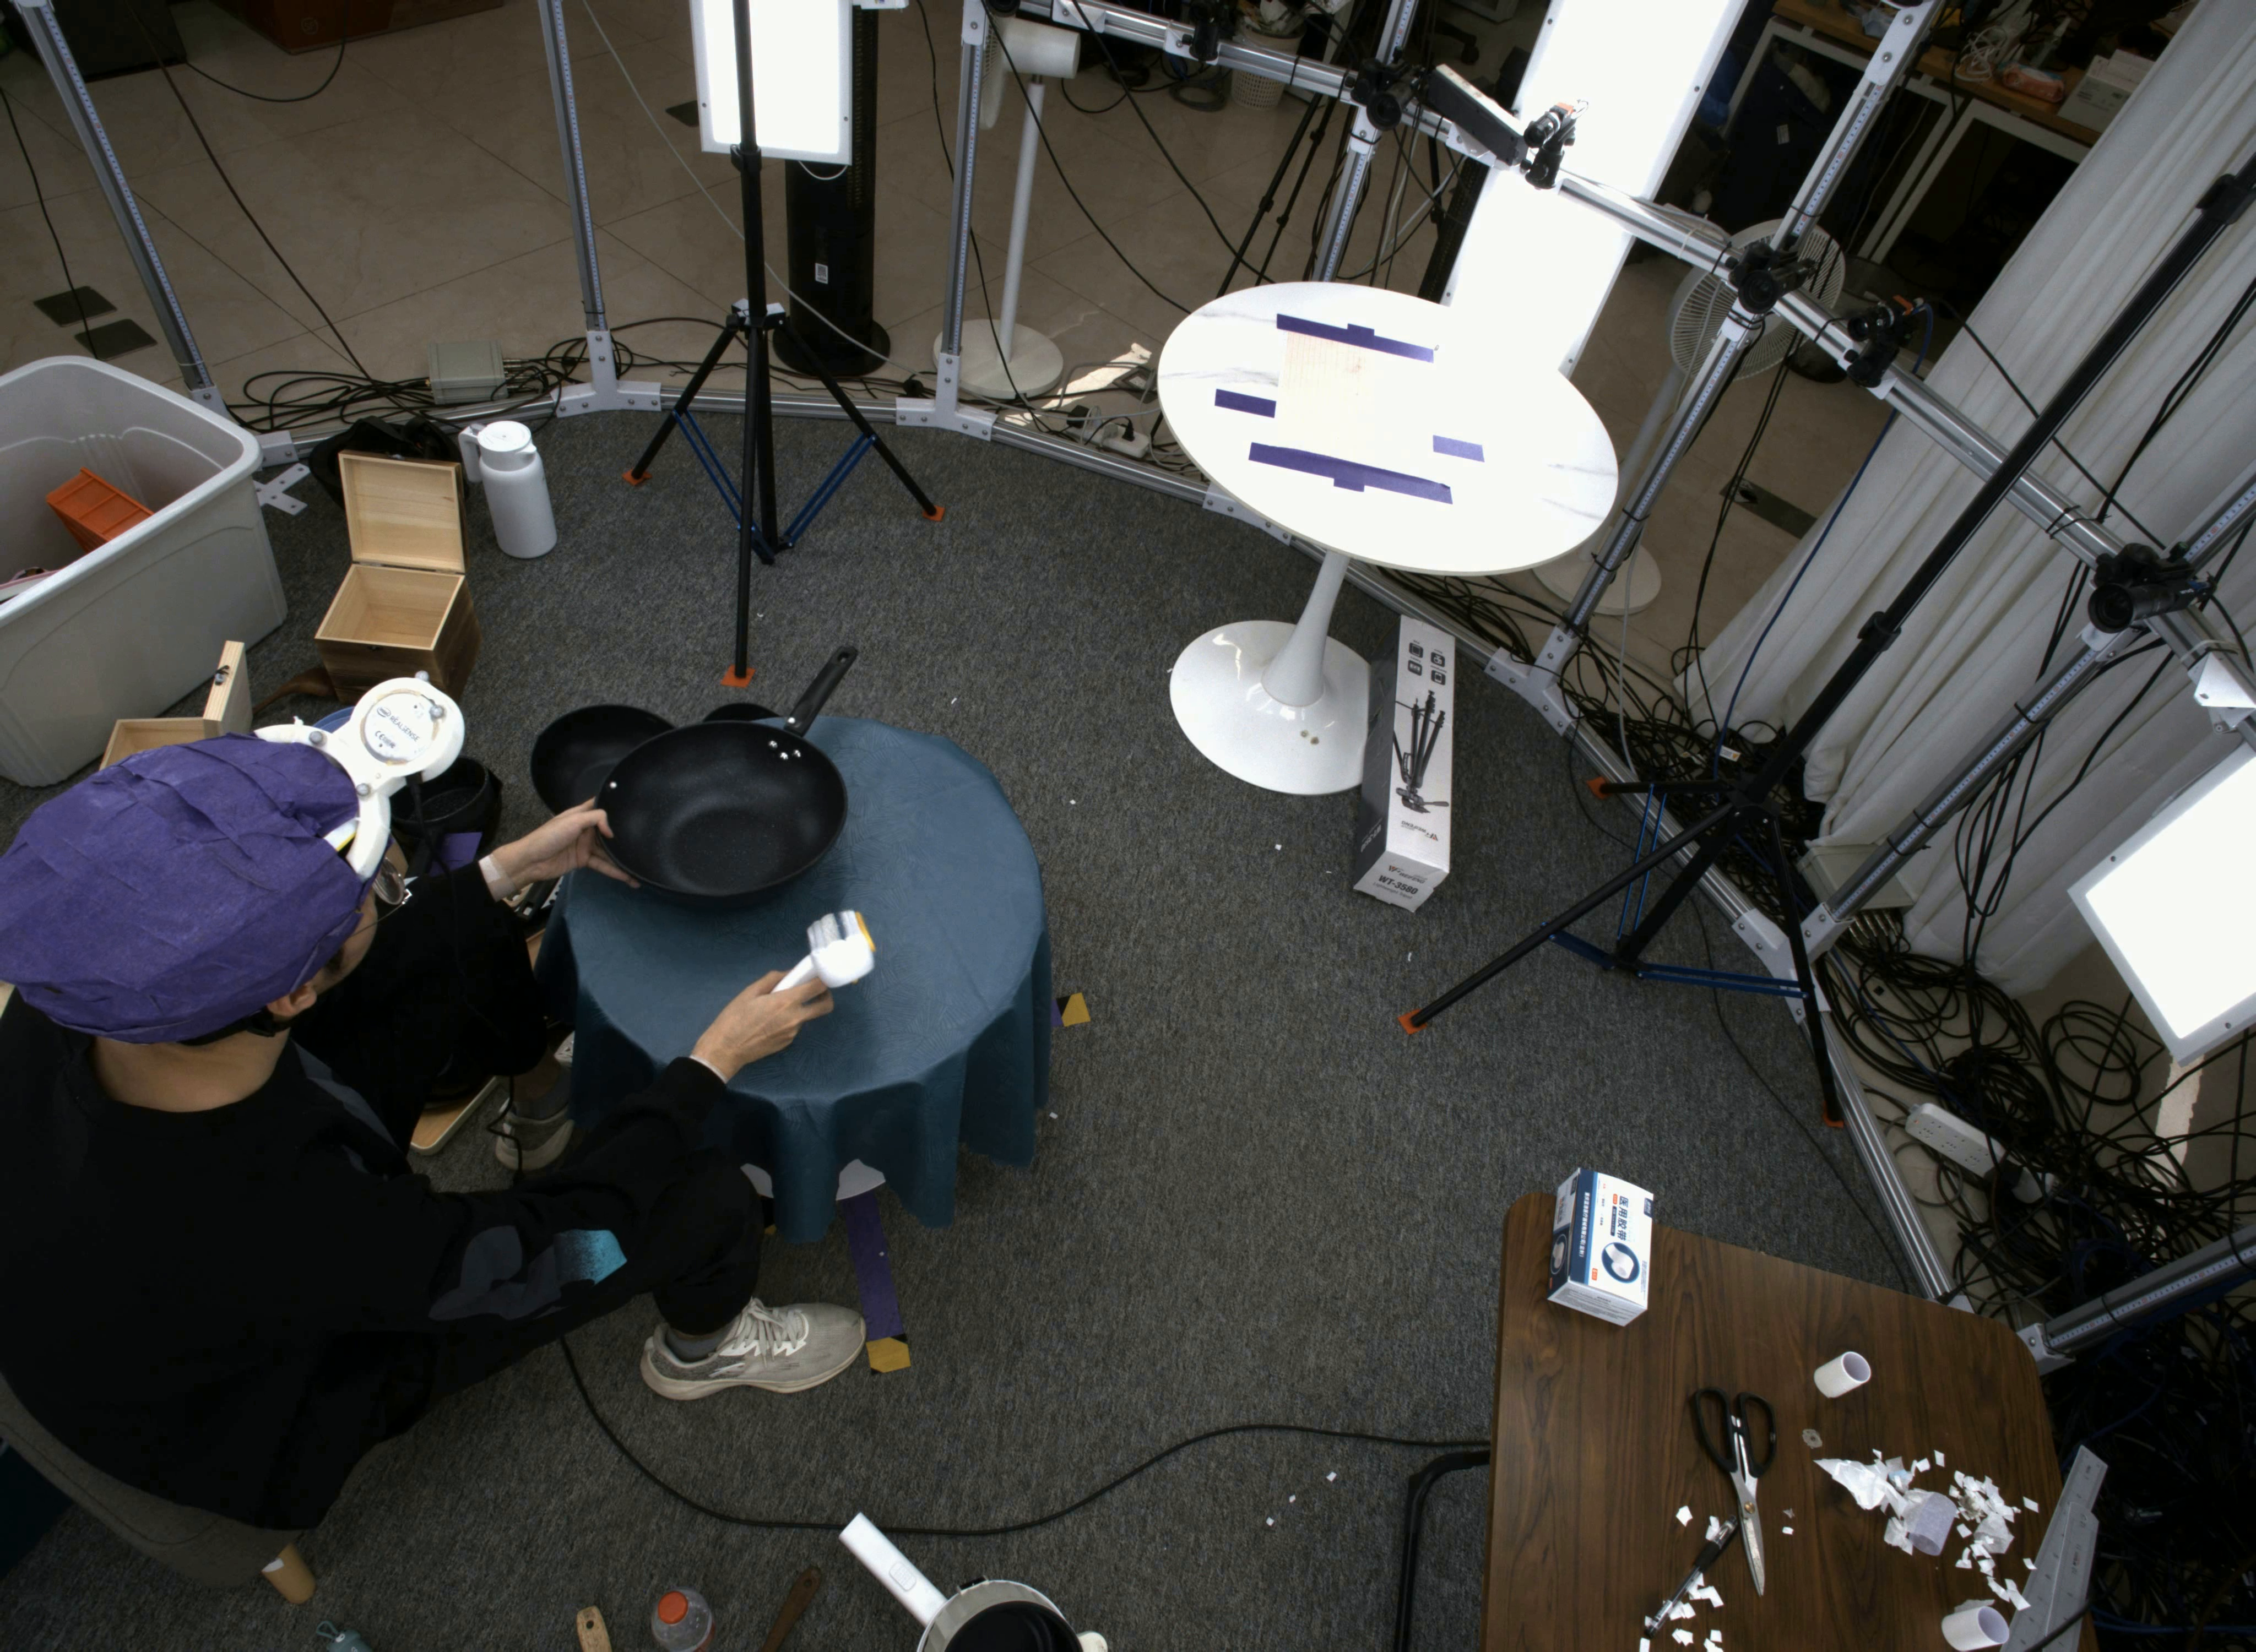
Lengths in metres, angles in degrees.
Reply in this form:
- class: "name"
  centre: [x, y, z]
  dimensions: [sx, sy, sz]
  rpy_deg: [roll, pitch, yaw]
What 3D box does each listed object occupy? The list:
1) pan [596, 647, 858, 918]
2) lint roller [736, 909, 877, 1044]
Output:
- class: "pan"
  centre: [-0.483, -0.058, 1.687]
  dimensions: [0.306, 0.114, 0.473]
  rpy_deg: [24, 48, 6]
- class: "lint roller"
  centre: [-0.380, 0.176, 1.503]
  dimensions: [0.192, 0.076, 0.187]
  rpy_deg: [-31, 20, -8]
